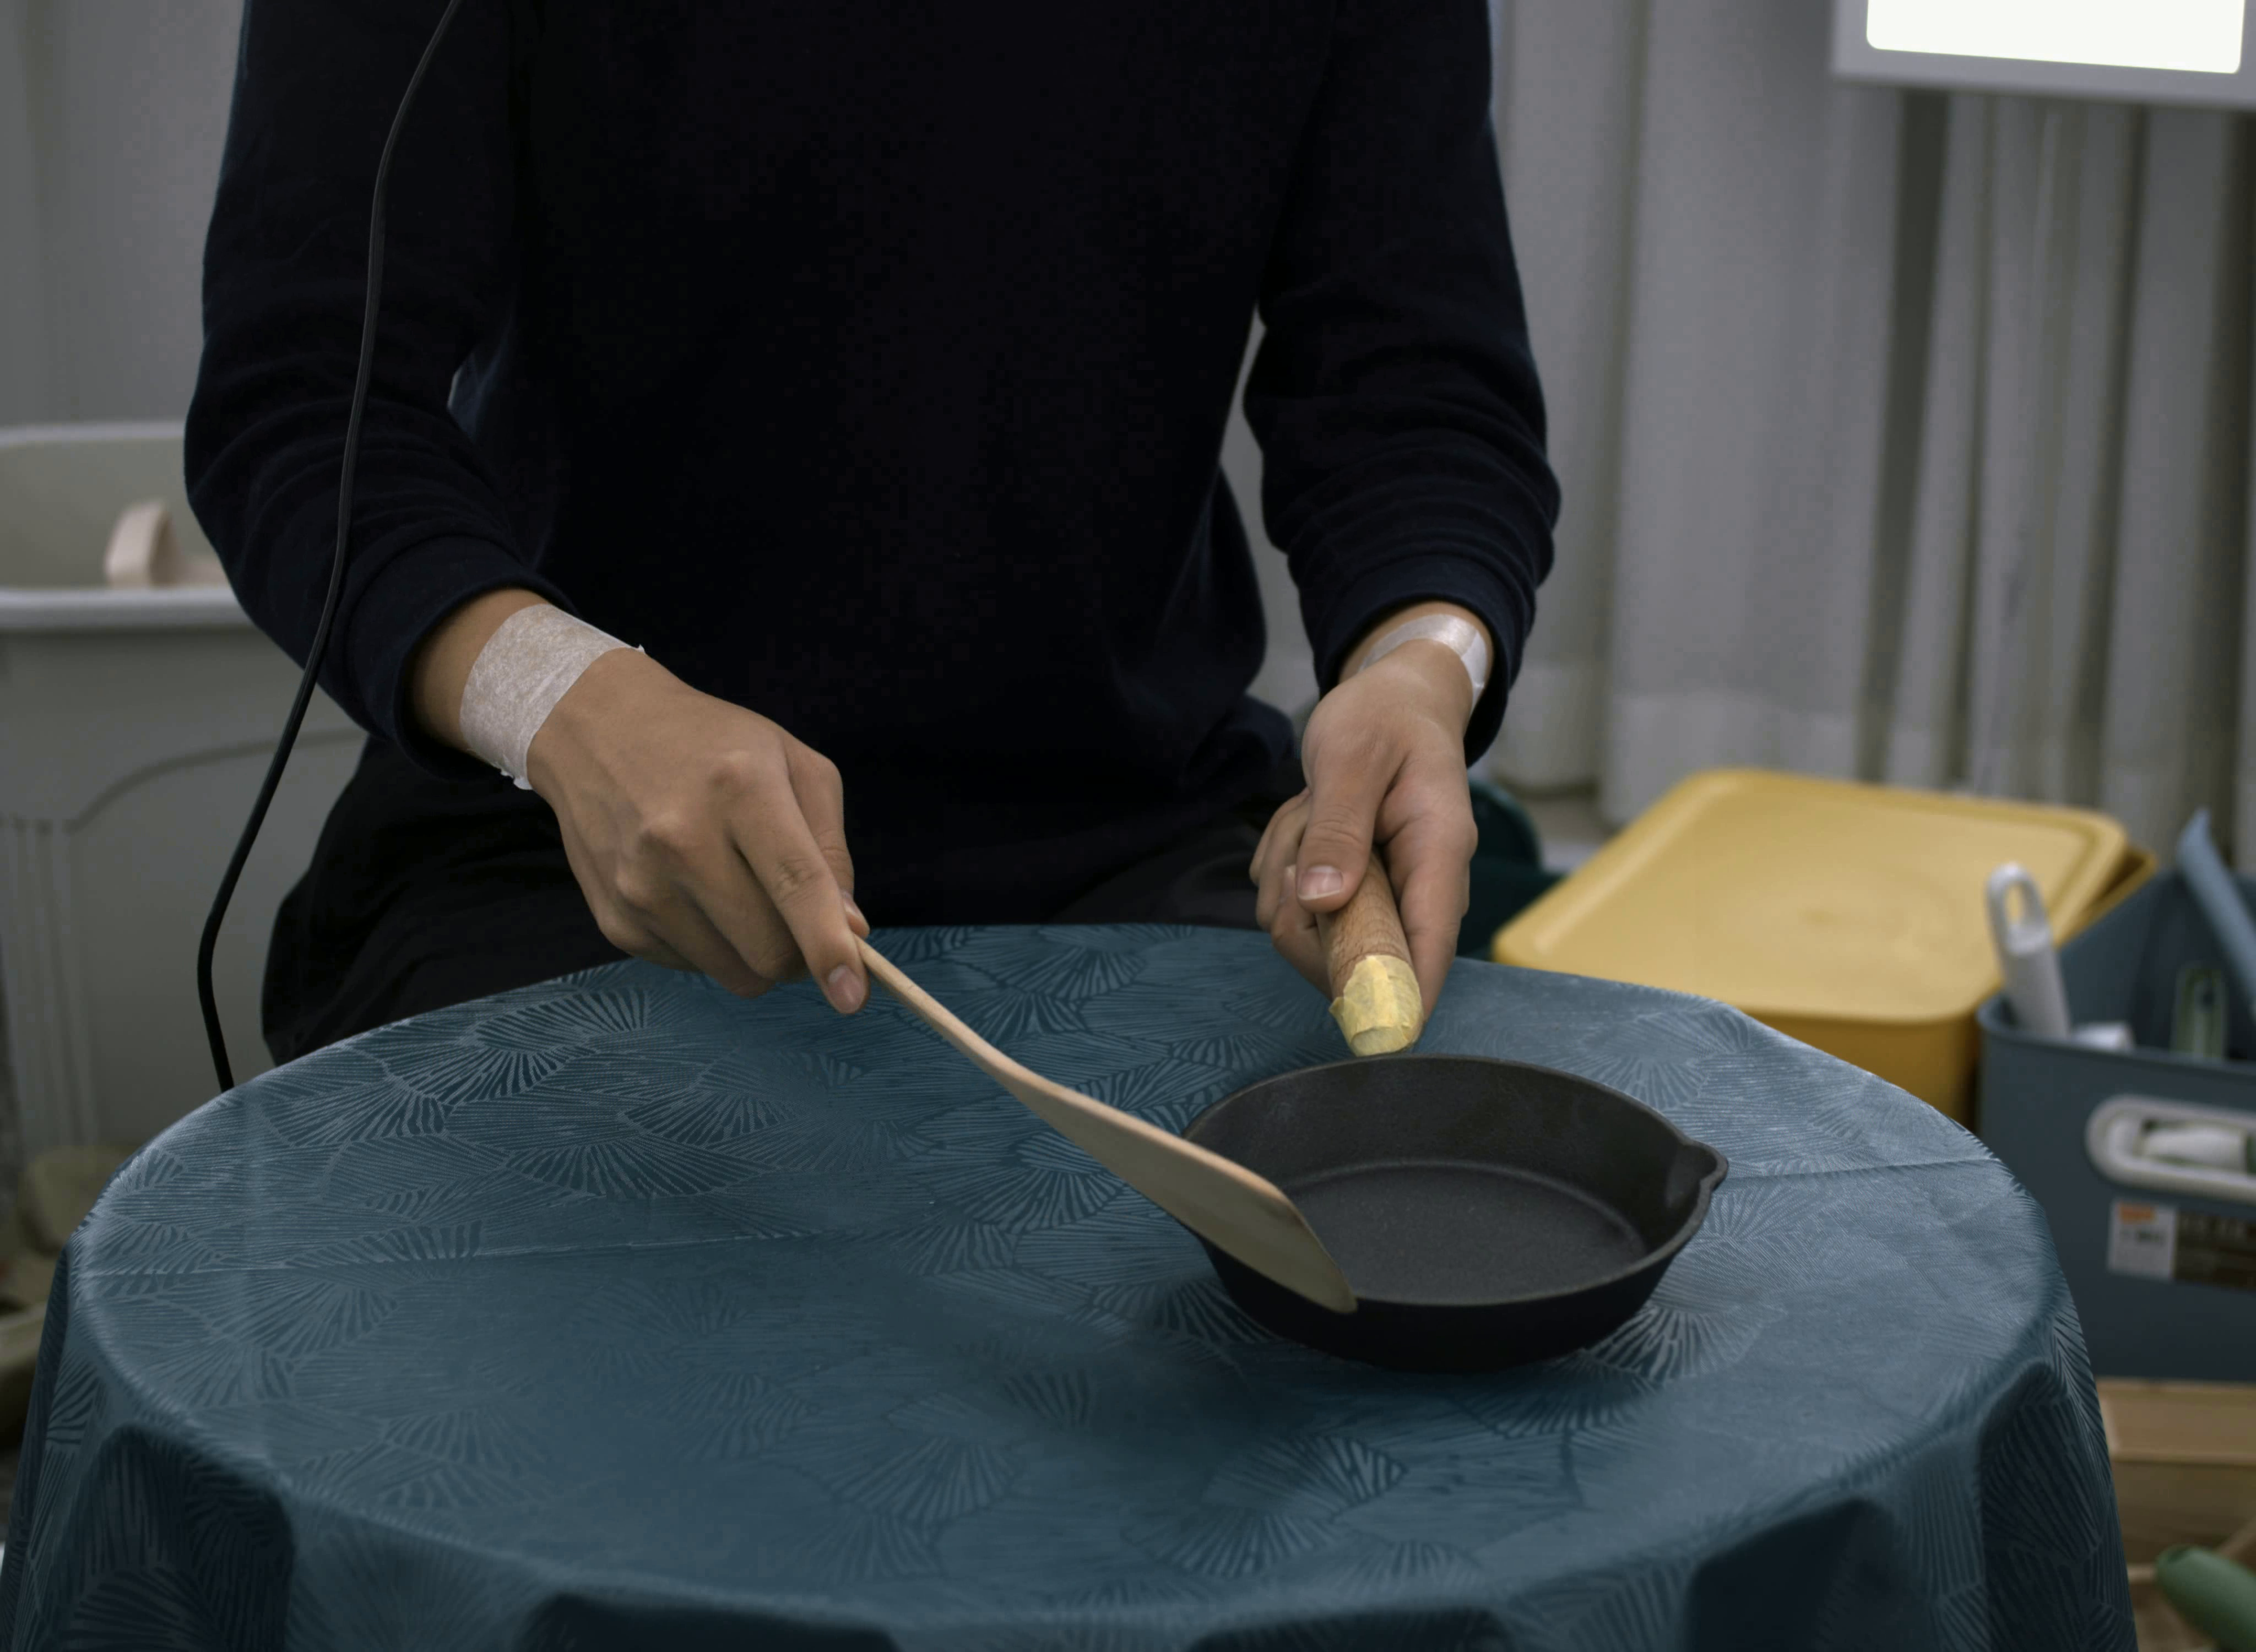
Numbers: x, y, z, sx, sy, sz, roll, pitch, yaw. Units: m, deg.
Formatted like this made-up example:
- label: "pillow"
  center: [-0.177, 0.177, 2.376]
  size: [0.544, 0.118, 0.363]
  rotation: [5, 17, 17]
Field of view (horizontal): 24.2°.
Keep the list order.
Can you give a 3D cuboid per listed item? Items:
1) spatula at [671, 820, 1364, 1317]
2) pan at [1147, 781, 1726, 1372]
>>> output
- label: "spatula"
  center: [-0.041, 0.061, 1.522]
  size: [0.016, 0.081, 0.323]
  rotation: [-48, 43, -9]
- label: "pan"
  center: [0.084, 0.072, 1.601]
  size: [0.168, 0.050, 0.321]
  rotation: [-1, 25, -4]
